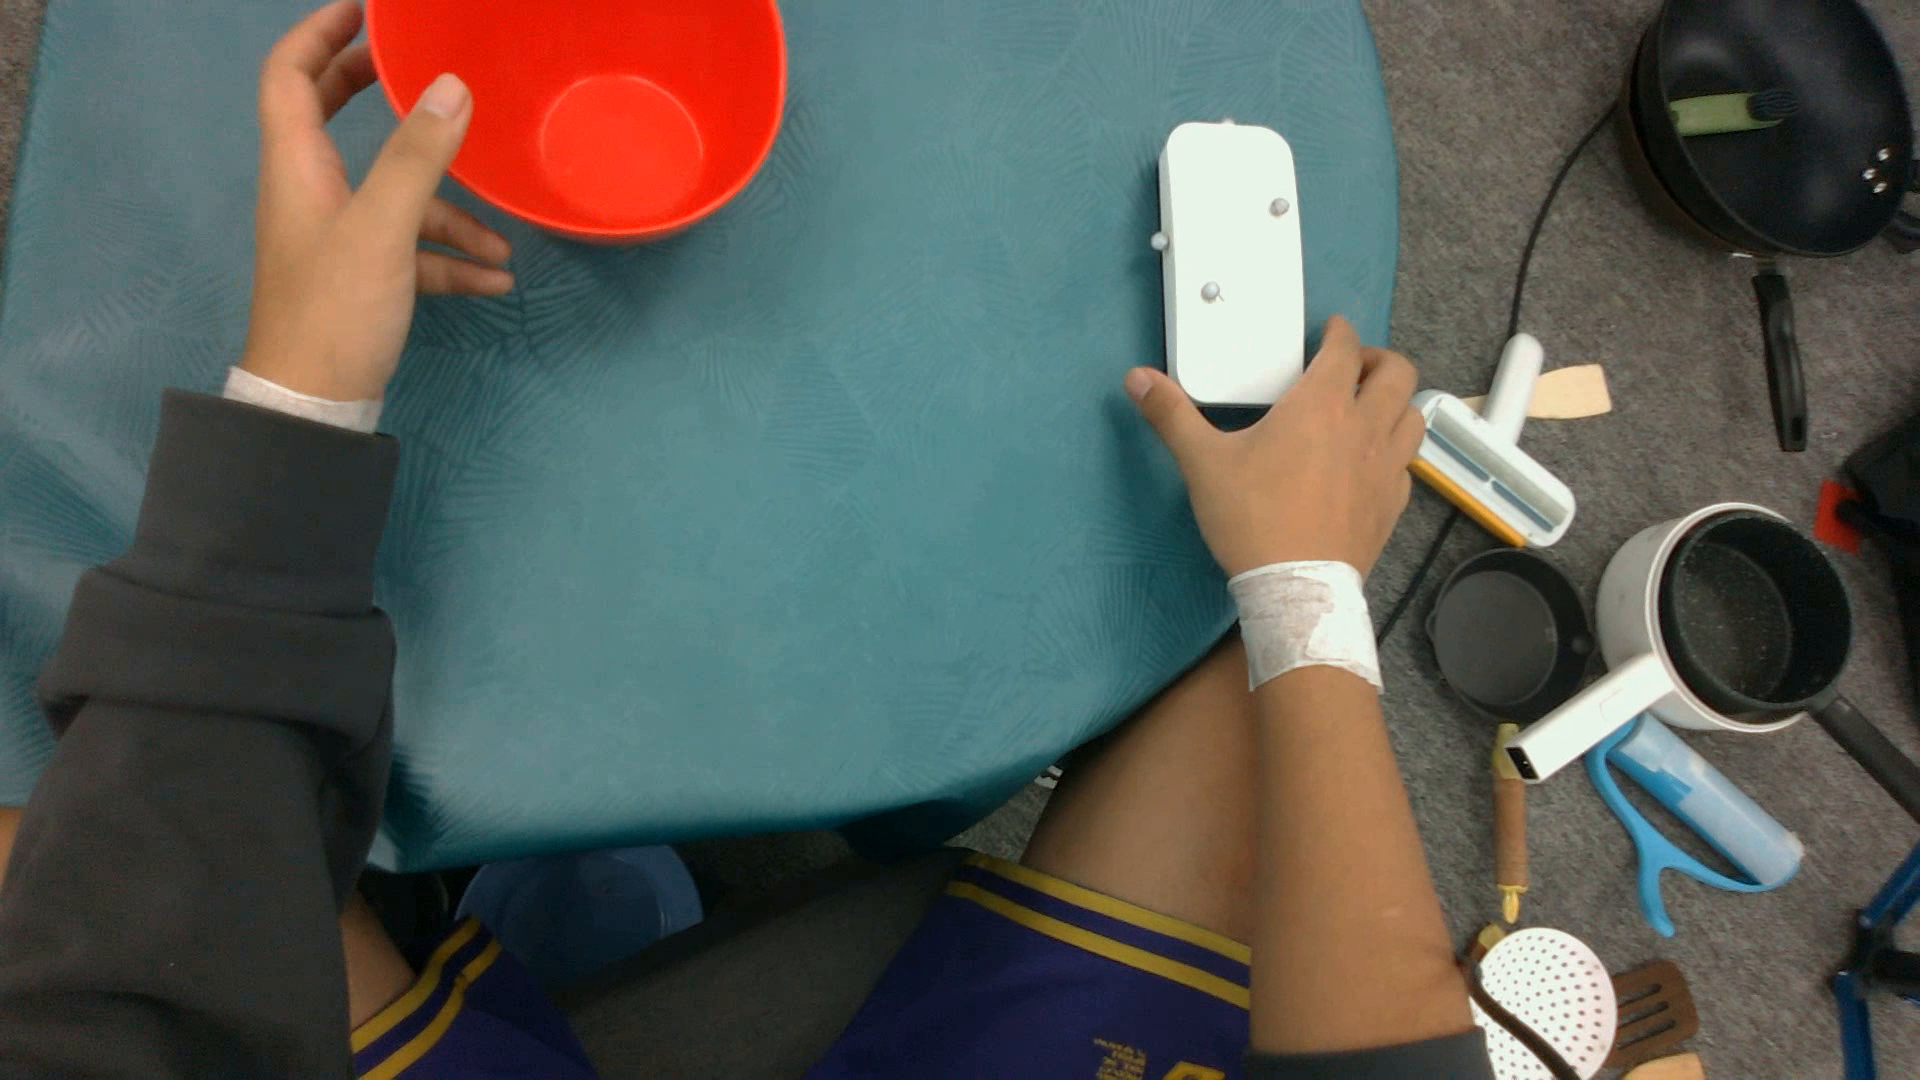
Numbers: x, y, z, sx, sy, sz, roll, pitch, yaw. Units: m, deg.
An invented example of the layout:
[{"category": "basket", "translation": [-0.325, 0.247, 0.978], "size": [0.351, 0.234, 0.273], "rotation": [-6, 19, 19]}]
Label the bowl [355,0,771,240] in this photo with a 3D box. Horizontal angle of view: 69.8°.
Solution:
[{"category": "bowl", "translation": [-0.151, -0.181, 0.546], "size": [0.148, 0.104, 0.148], "rotation": [2, 81, -14]}]

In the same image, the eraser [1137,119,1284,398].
[{"category": "eraser", "translation": [0.113, -0.130, 0.636], "size": [0.063, 0.034, 0.131], "rotation": [2, 79, -12]}]
